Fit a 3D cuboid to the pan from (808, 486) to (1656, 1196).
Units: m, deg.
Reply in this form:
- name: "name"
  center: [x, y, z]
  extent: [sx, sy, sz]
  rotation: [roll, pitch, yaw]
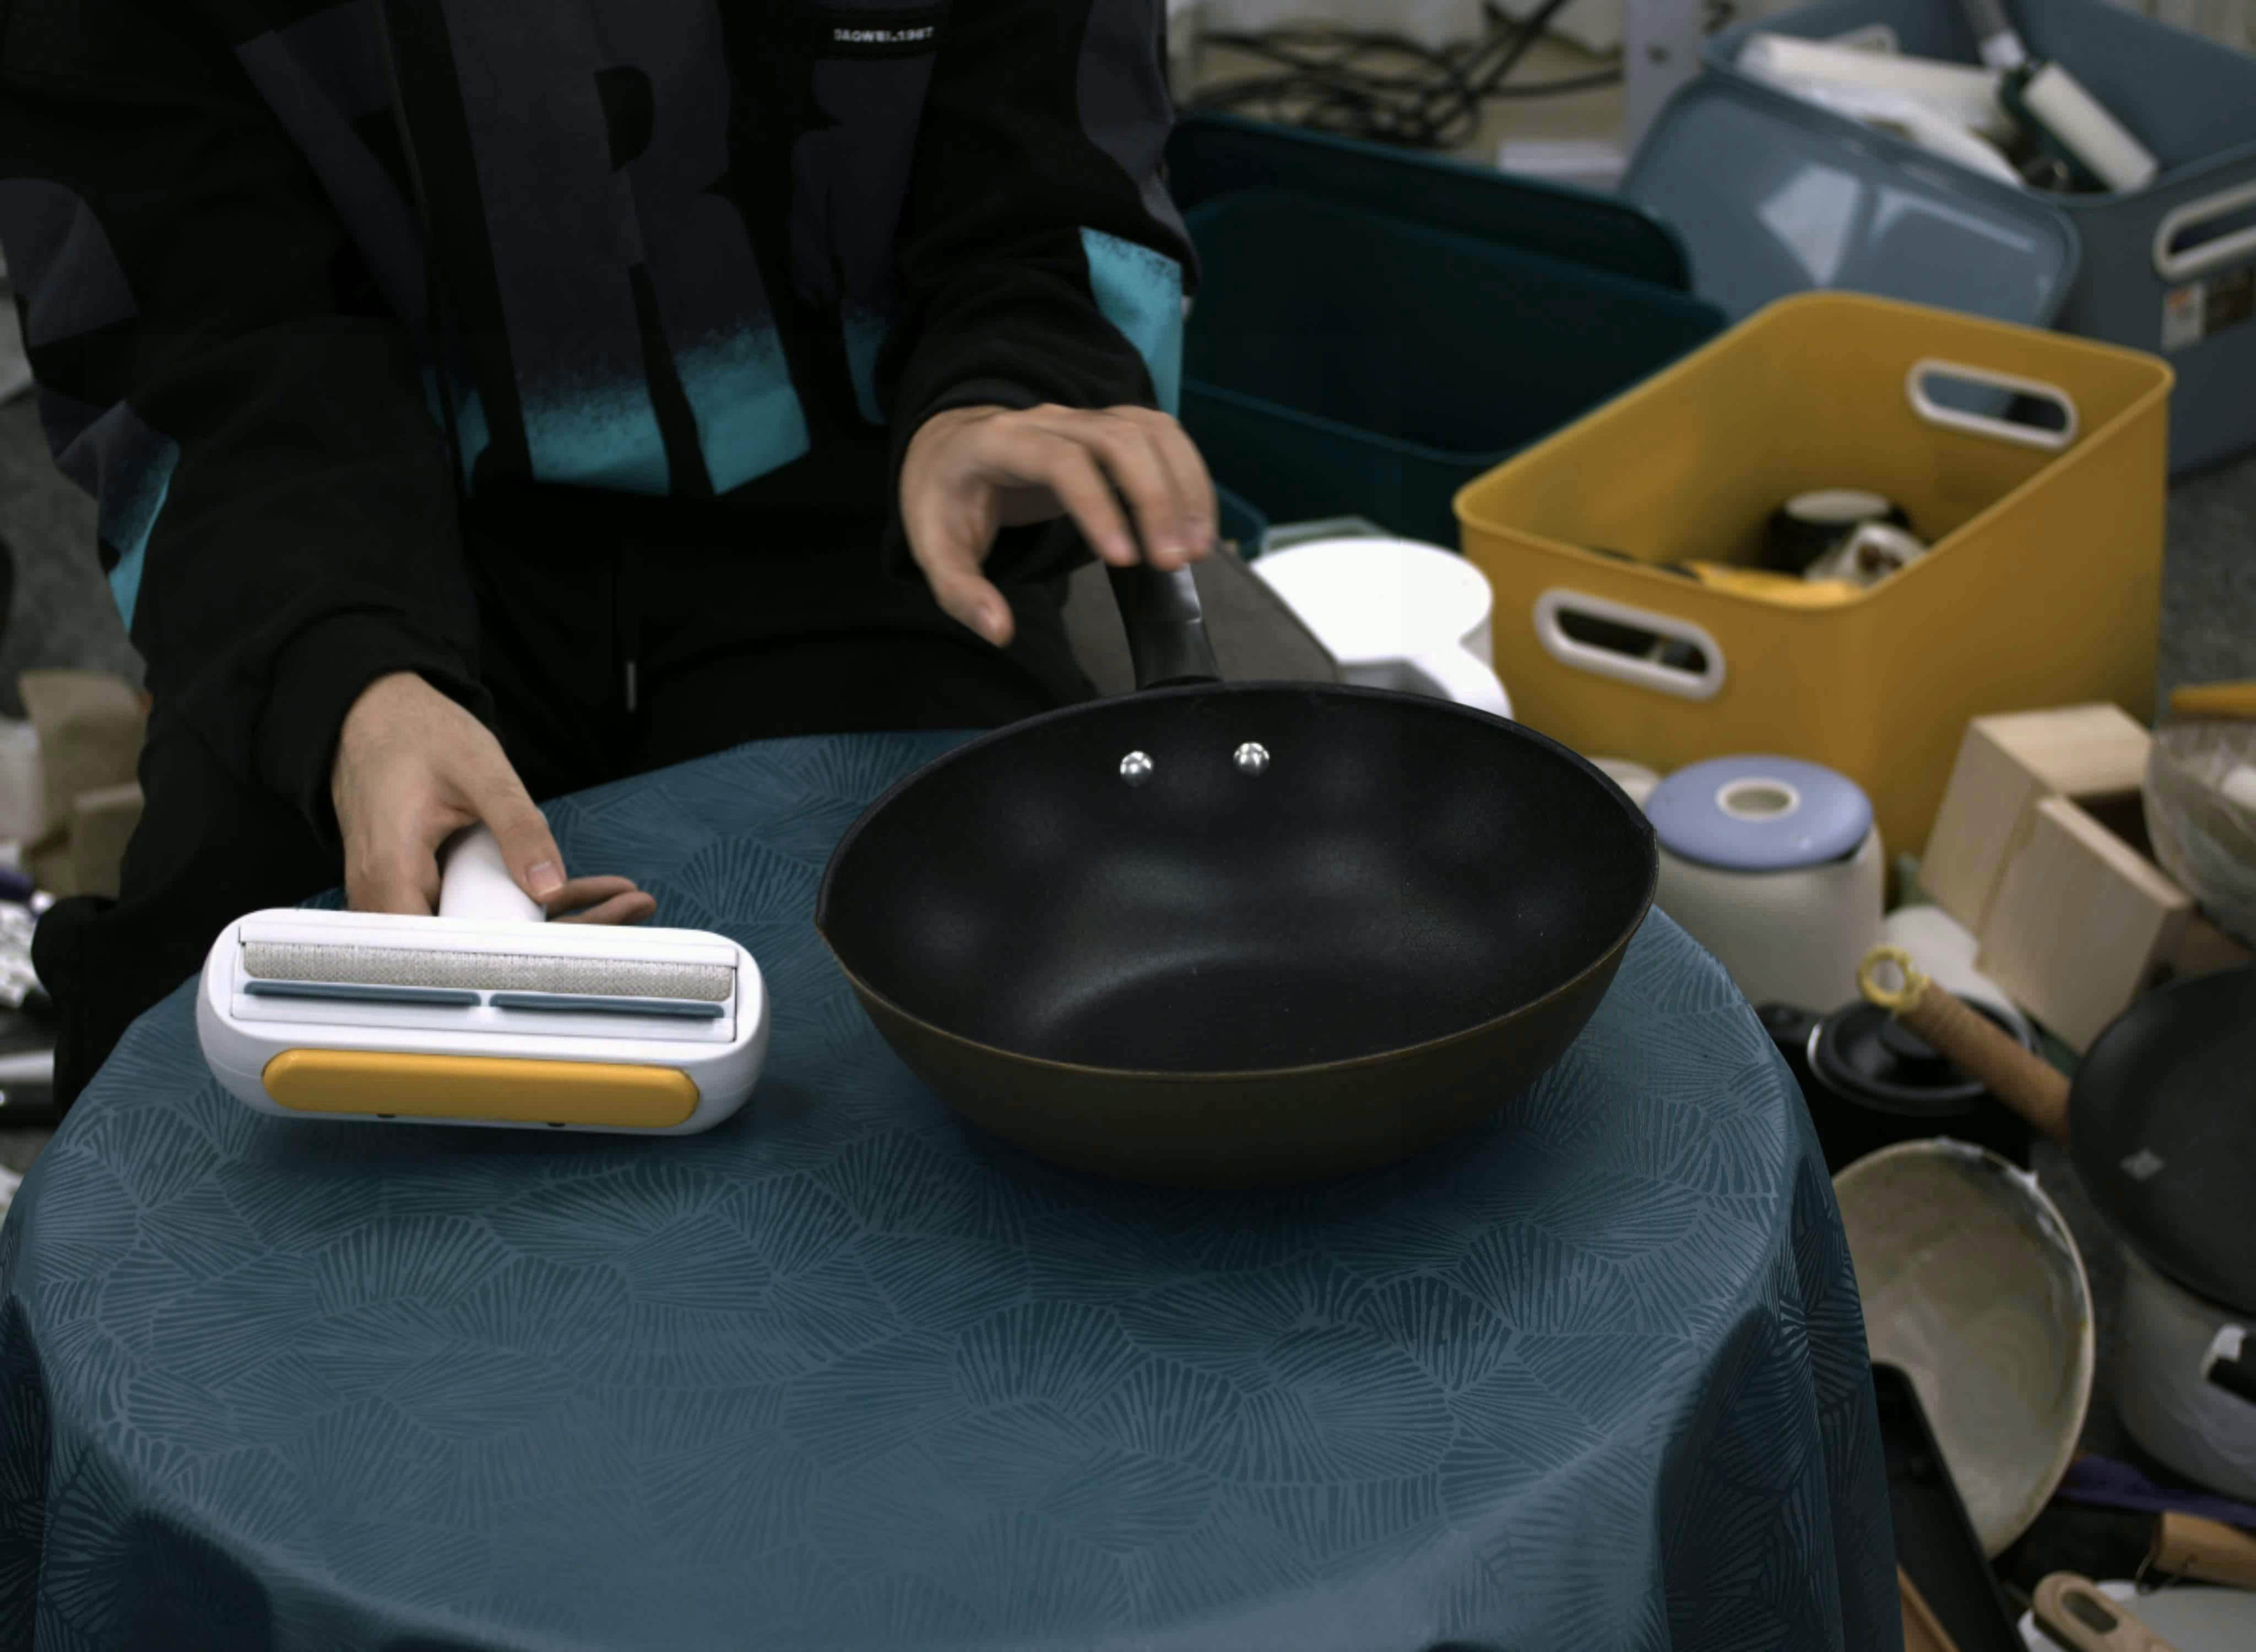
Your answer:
- name: "pan"
  center: [0.027, 0.007, 1.989]
  extent: [0.287, 0.086, 0.469]
  rotation: [-5, 27, -5]

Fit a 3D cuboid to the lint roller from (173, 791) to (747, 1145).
- name: "lint roller"
  center: [-0.225, 0.037, 1.951]
  extent: [0.192, 0.073, 0.196]
  rotation: [2, 37, -1]
